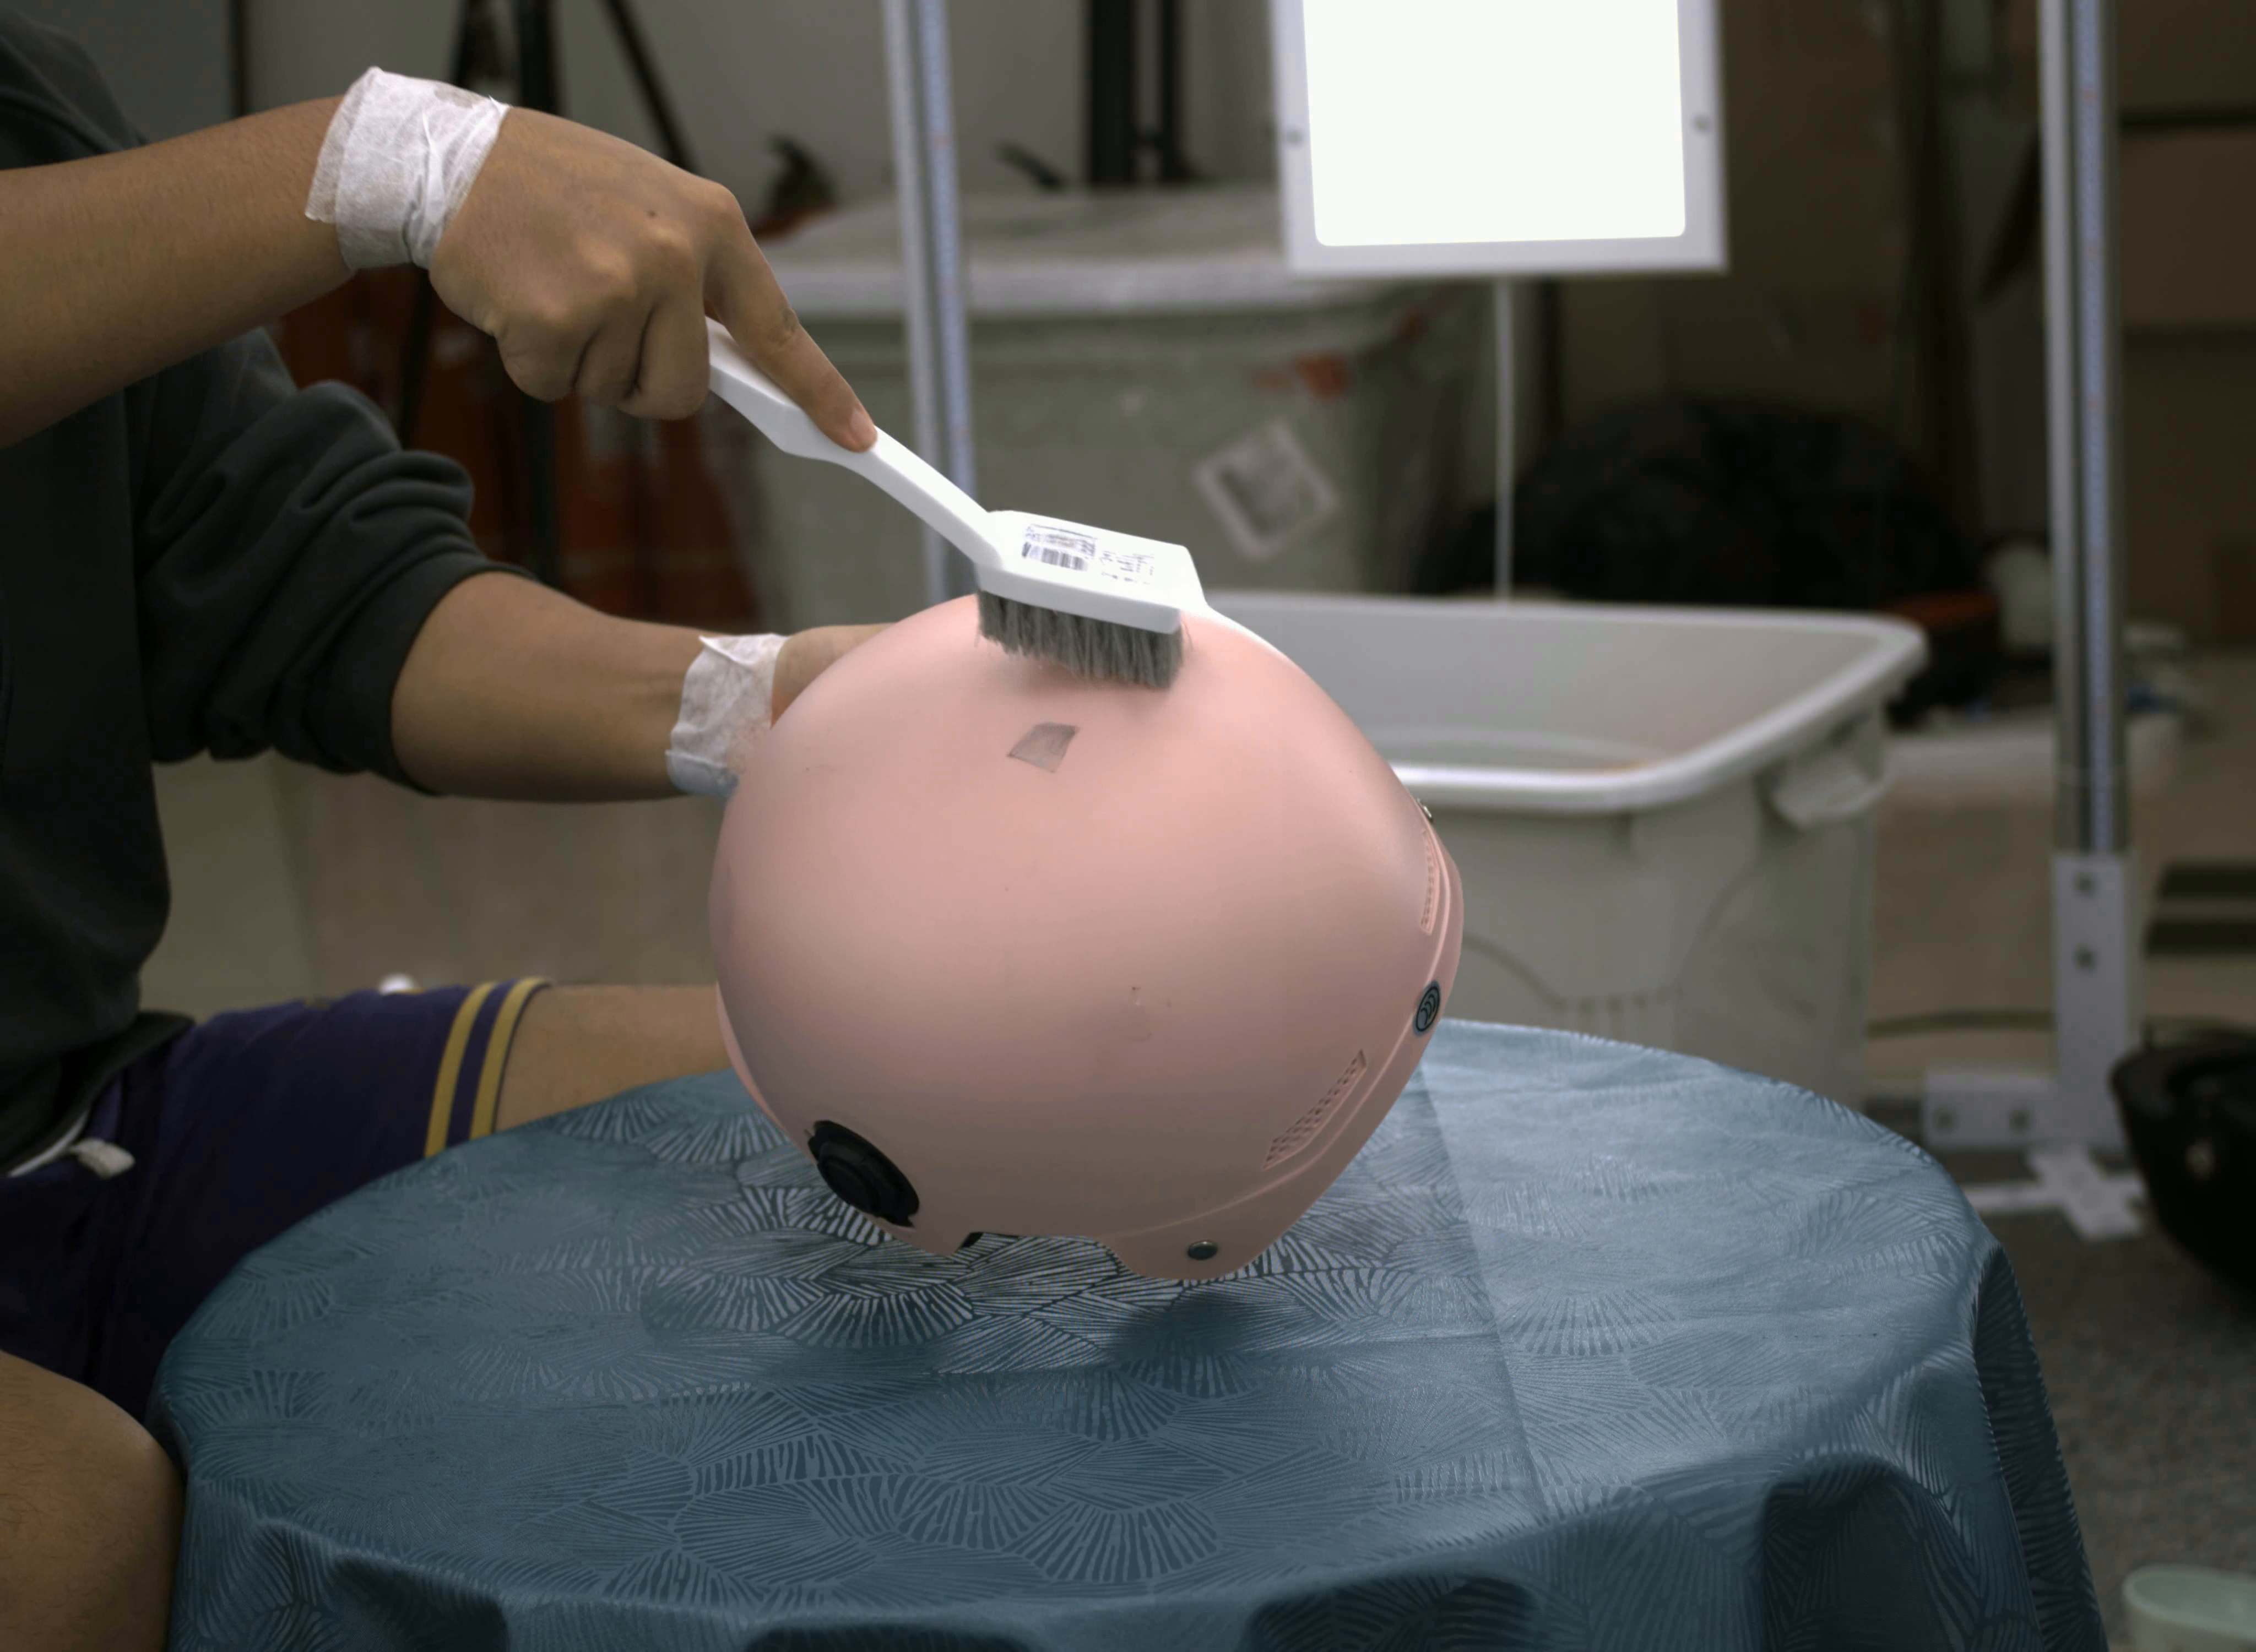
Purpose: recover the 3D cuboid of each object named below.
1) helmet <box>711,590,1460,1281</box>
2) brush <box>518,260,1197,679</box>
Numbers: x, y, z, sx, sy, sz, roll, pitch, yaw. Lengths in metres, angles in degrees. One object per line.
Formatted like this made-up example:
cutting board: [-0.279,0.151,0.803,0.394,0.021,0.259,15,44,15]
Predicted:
helmet: [-0.031,0.014,1.804,0.270,0.157,0.232,14,64,29]
brush: [-0.086,-0.107,1.714,0.241,0.051,0.034,24,38,-13]
